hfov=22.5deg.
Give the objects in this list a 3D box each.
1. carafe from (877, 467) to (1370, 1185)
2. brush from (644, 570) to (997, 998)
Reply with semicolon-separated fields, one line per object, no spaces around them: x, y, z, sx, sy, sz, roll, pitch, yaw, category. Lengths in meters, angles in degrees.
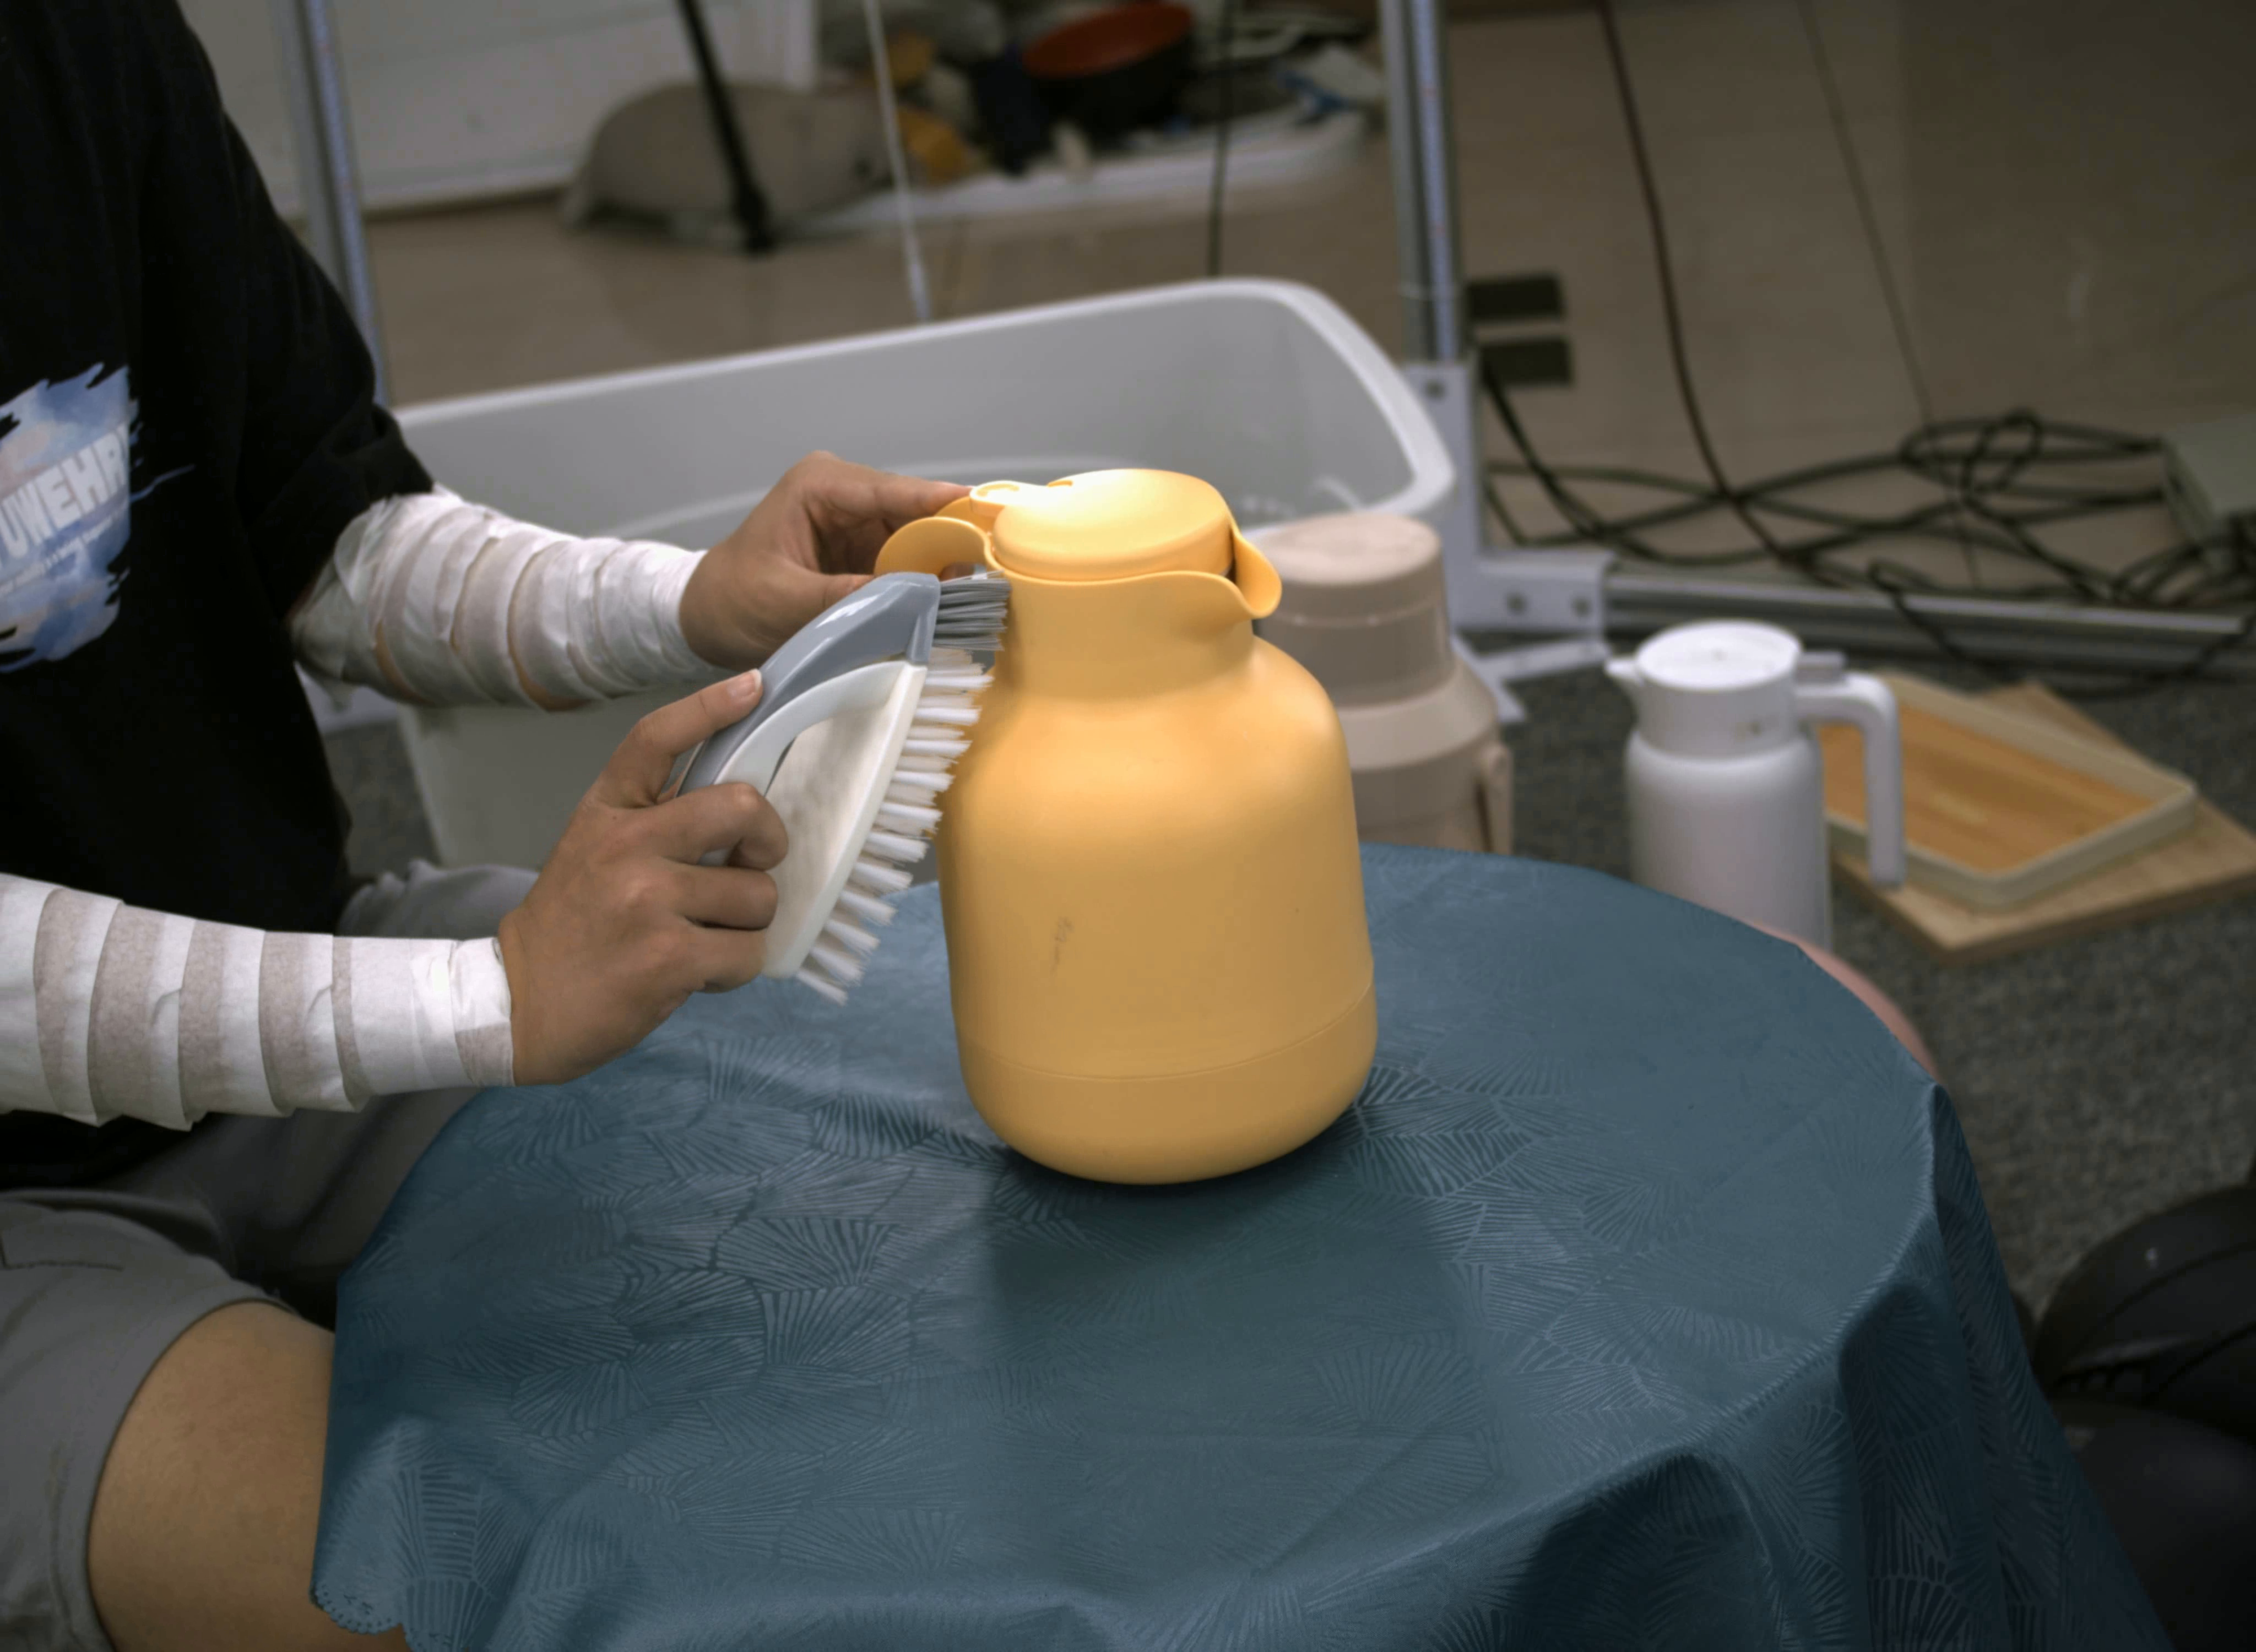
-0.008;-0.009;2.157;0.201;0.264;0.162;18;34;40;carafe
-0.118;-0.025;2.082;0.094;0.177;0.060;13;25;-41;brush
